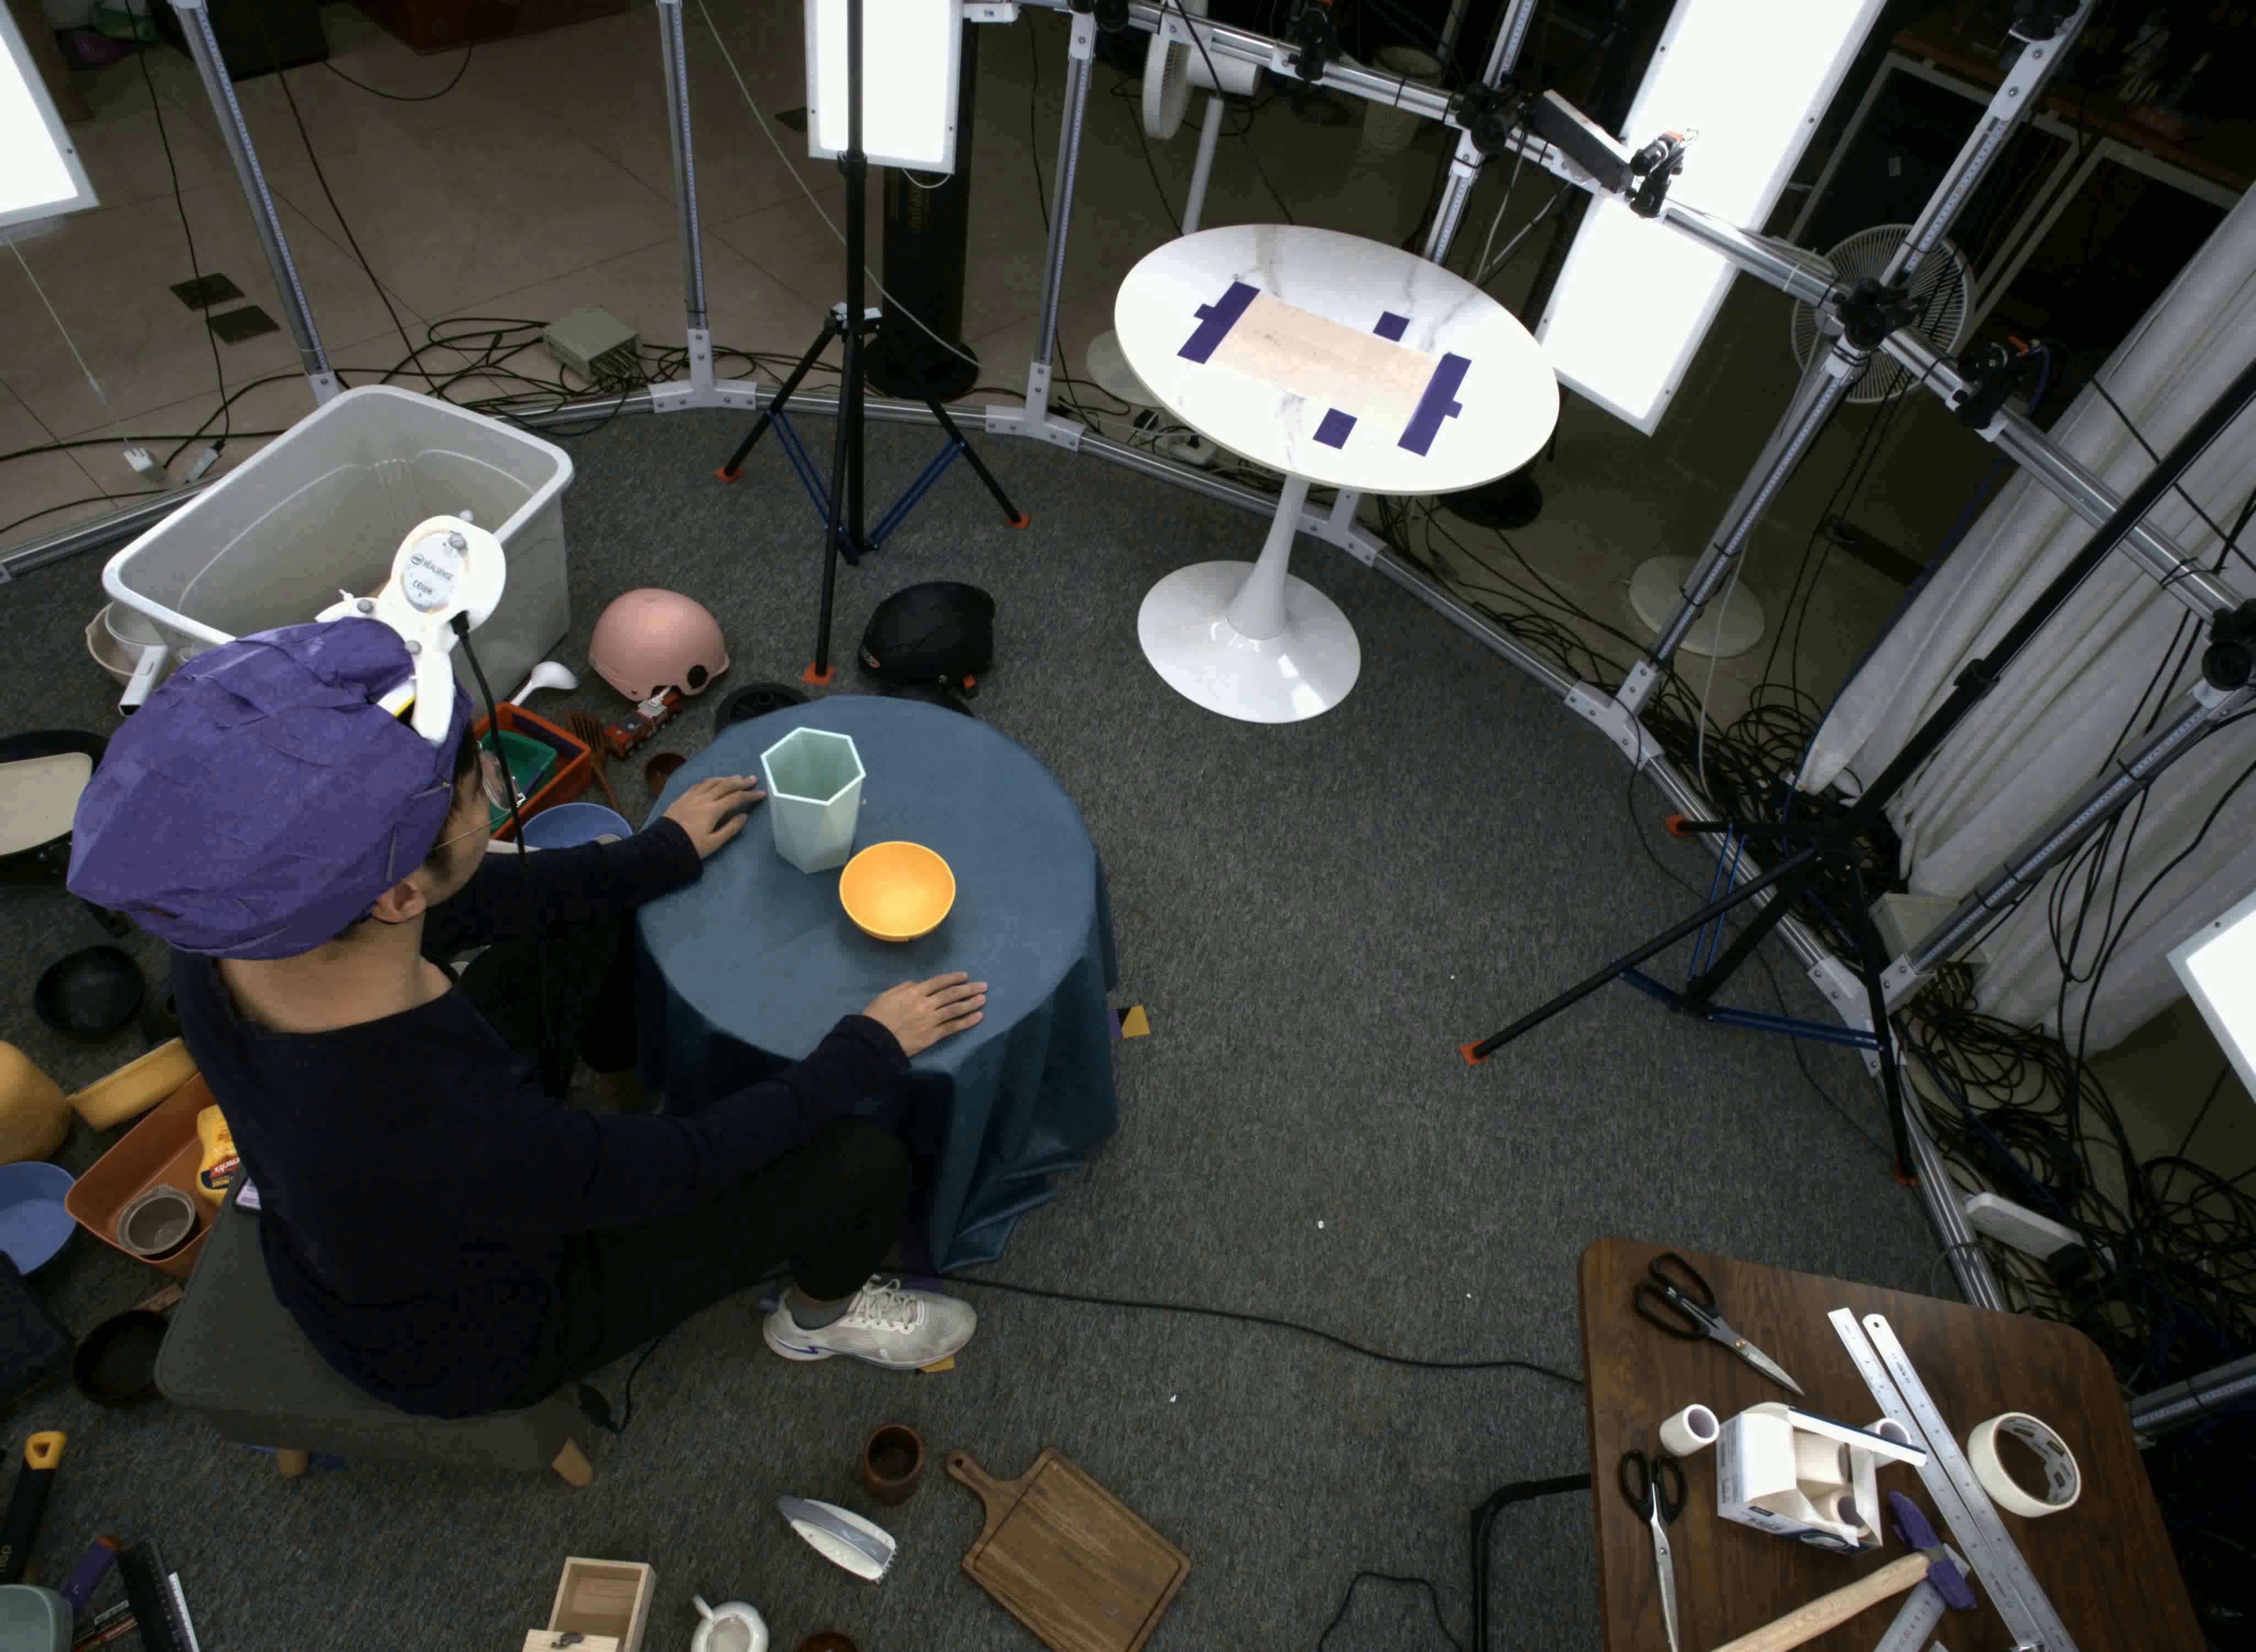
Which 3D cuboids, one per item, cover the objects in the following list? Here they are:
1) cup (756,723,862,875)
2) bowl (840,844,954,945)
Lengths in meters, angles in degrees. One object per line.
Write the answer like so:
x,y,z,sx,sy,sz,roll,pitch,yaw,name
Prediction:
-0.400,-0.030,1.648,0.115,0.167,0.127,-18,58,-22,cup
-0.292,0.097,1.652,0.144,0.061,0.143,6,53,-6,bowl
